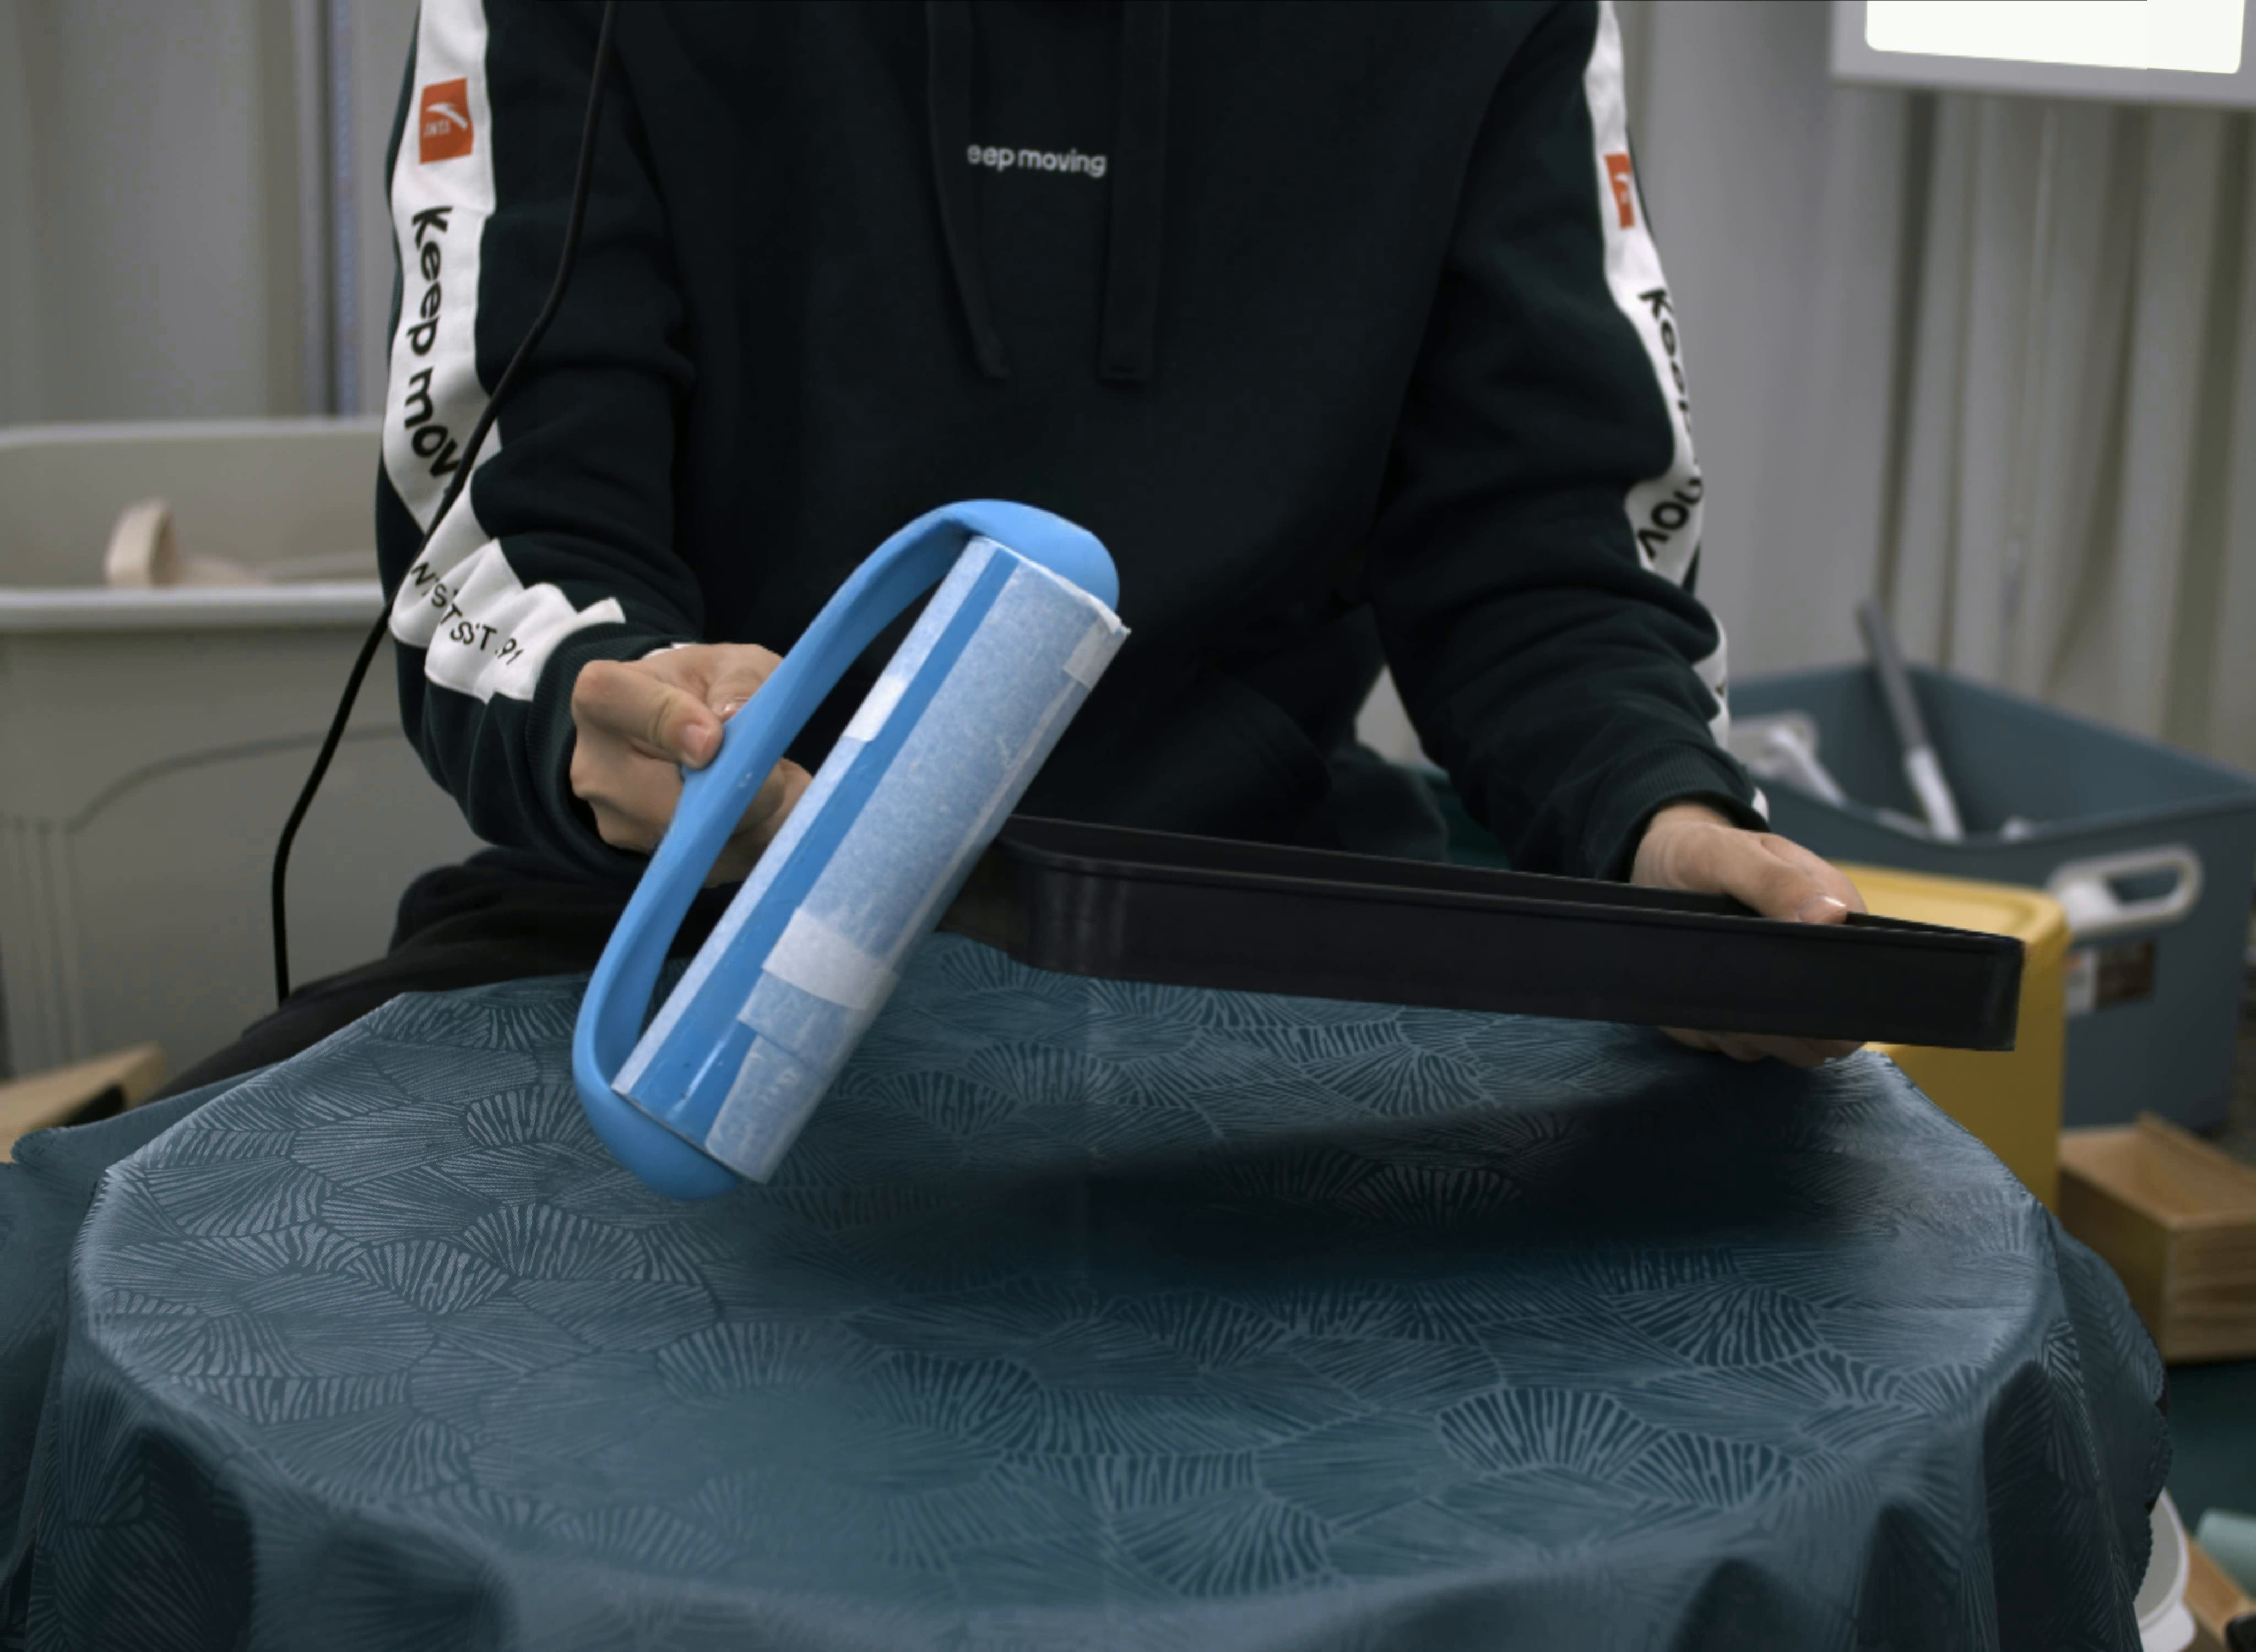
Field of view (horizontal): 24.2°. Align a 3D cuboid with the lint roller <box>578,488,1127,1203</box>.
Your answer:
[{"bbox_3d":[-0.101,-0.004,1.561,0.068,0.229,0.178,33,-6,-29],"label":"lint roller"}]

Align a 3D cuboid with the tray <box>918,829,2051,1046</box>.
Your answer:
[{"bbox_3d":[0.104,0.033,1.602,0.319,0.037,0.183,4,2,-20],"label":"tray"}]
